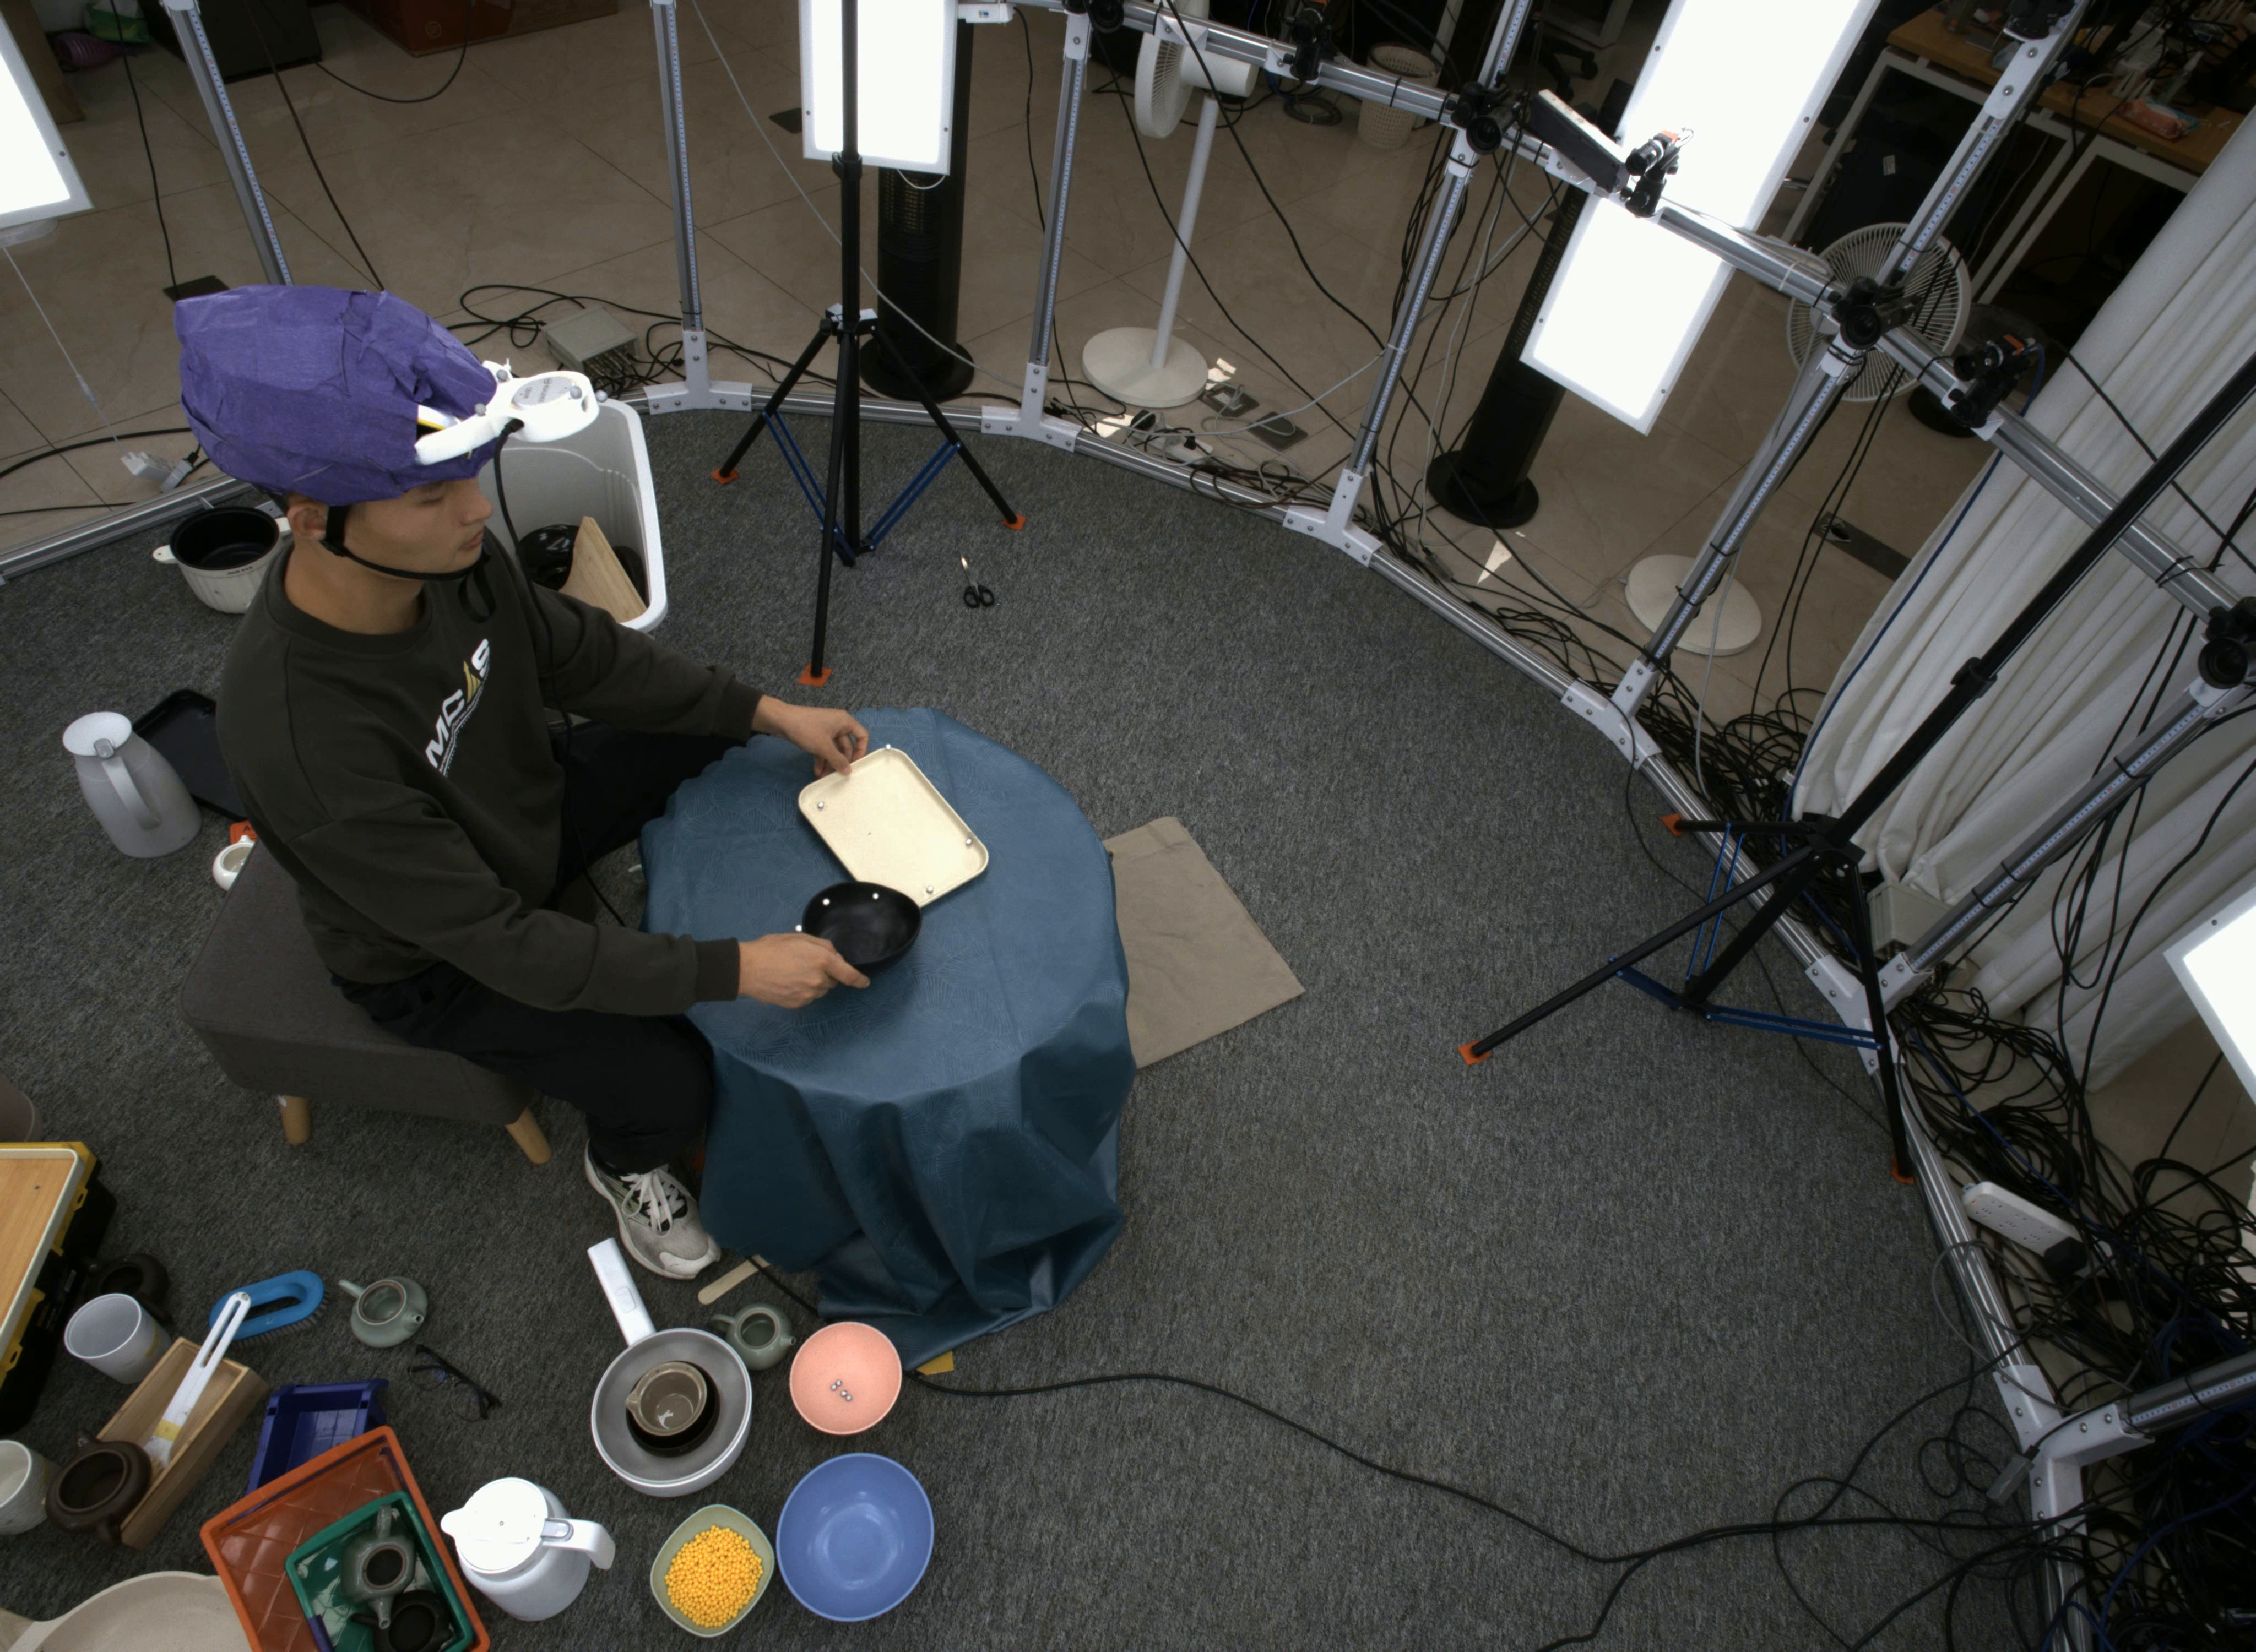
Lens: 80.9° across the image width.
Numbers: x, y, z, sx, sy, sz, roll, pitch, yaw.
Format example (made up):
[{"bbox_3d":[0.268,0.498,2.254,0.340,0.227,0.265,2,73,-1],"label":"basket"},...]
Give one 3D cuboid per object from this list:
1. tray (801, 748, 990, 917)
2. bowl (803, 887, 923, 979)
[{"bbox_3d":[-0.311,0.006,1.740,0.172,0.018,0.235,-33,70,-29],"label":"tray"},{"bbox_3d":[-0.328,0.138,1.599,0.135,0.068,0.169,25,33,9],"label":"bowl"}]
